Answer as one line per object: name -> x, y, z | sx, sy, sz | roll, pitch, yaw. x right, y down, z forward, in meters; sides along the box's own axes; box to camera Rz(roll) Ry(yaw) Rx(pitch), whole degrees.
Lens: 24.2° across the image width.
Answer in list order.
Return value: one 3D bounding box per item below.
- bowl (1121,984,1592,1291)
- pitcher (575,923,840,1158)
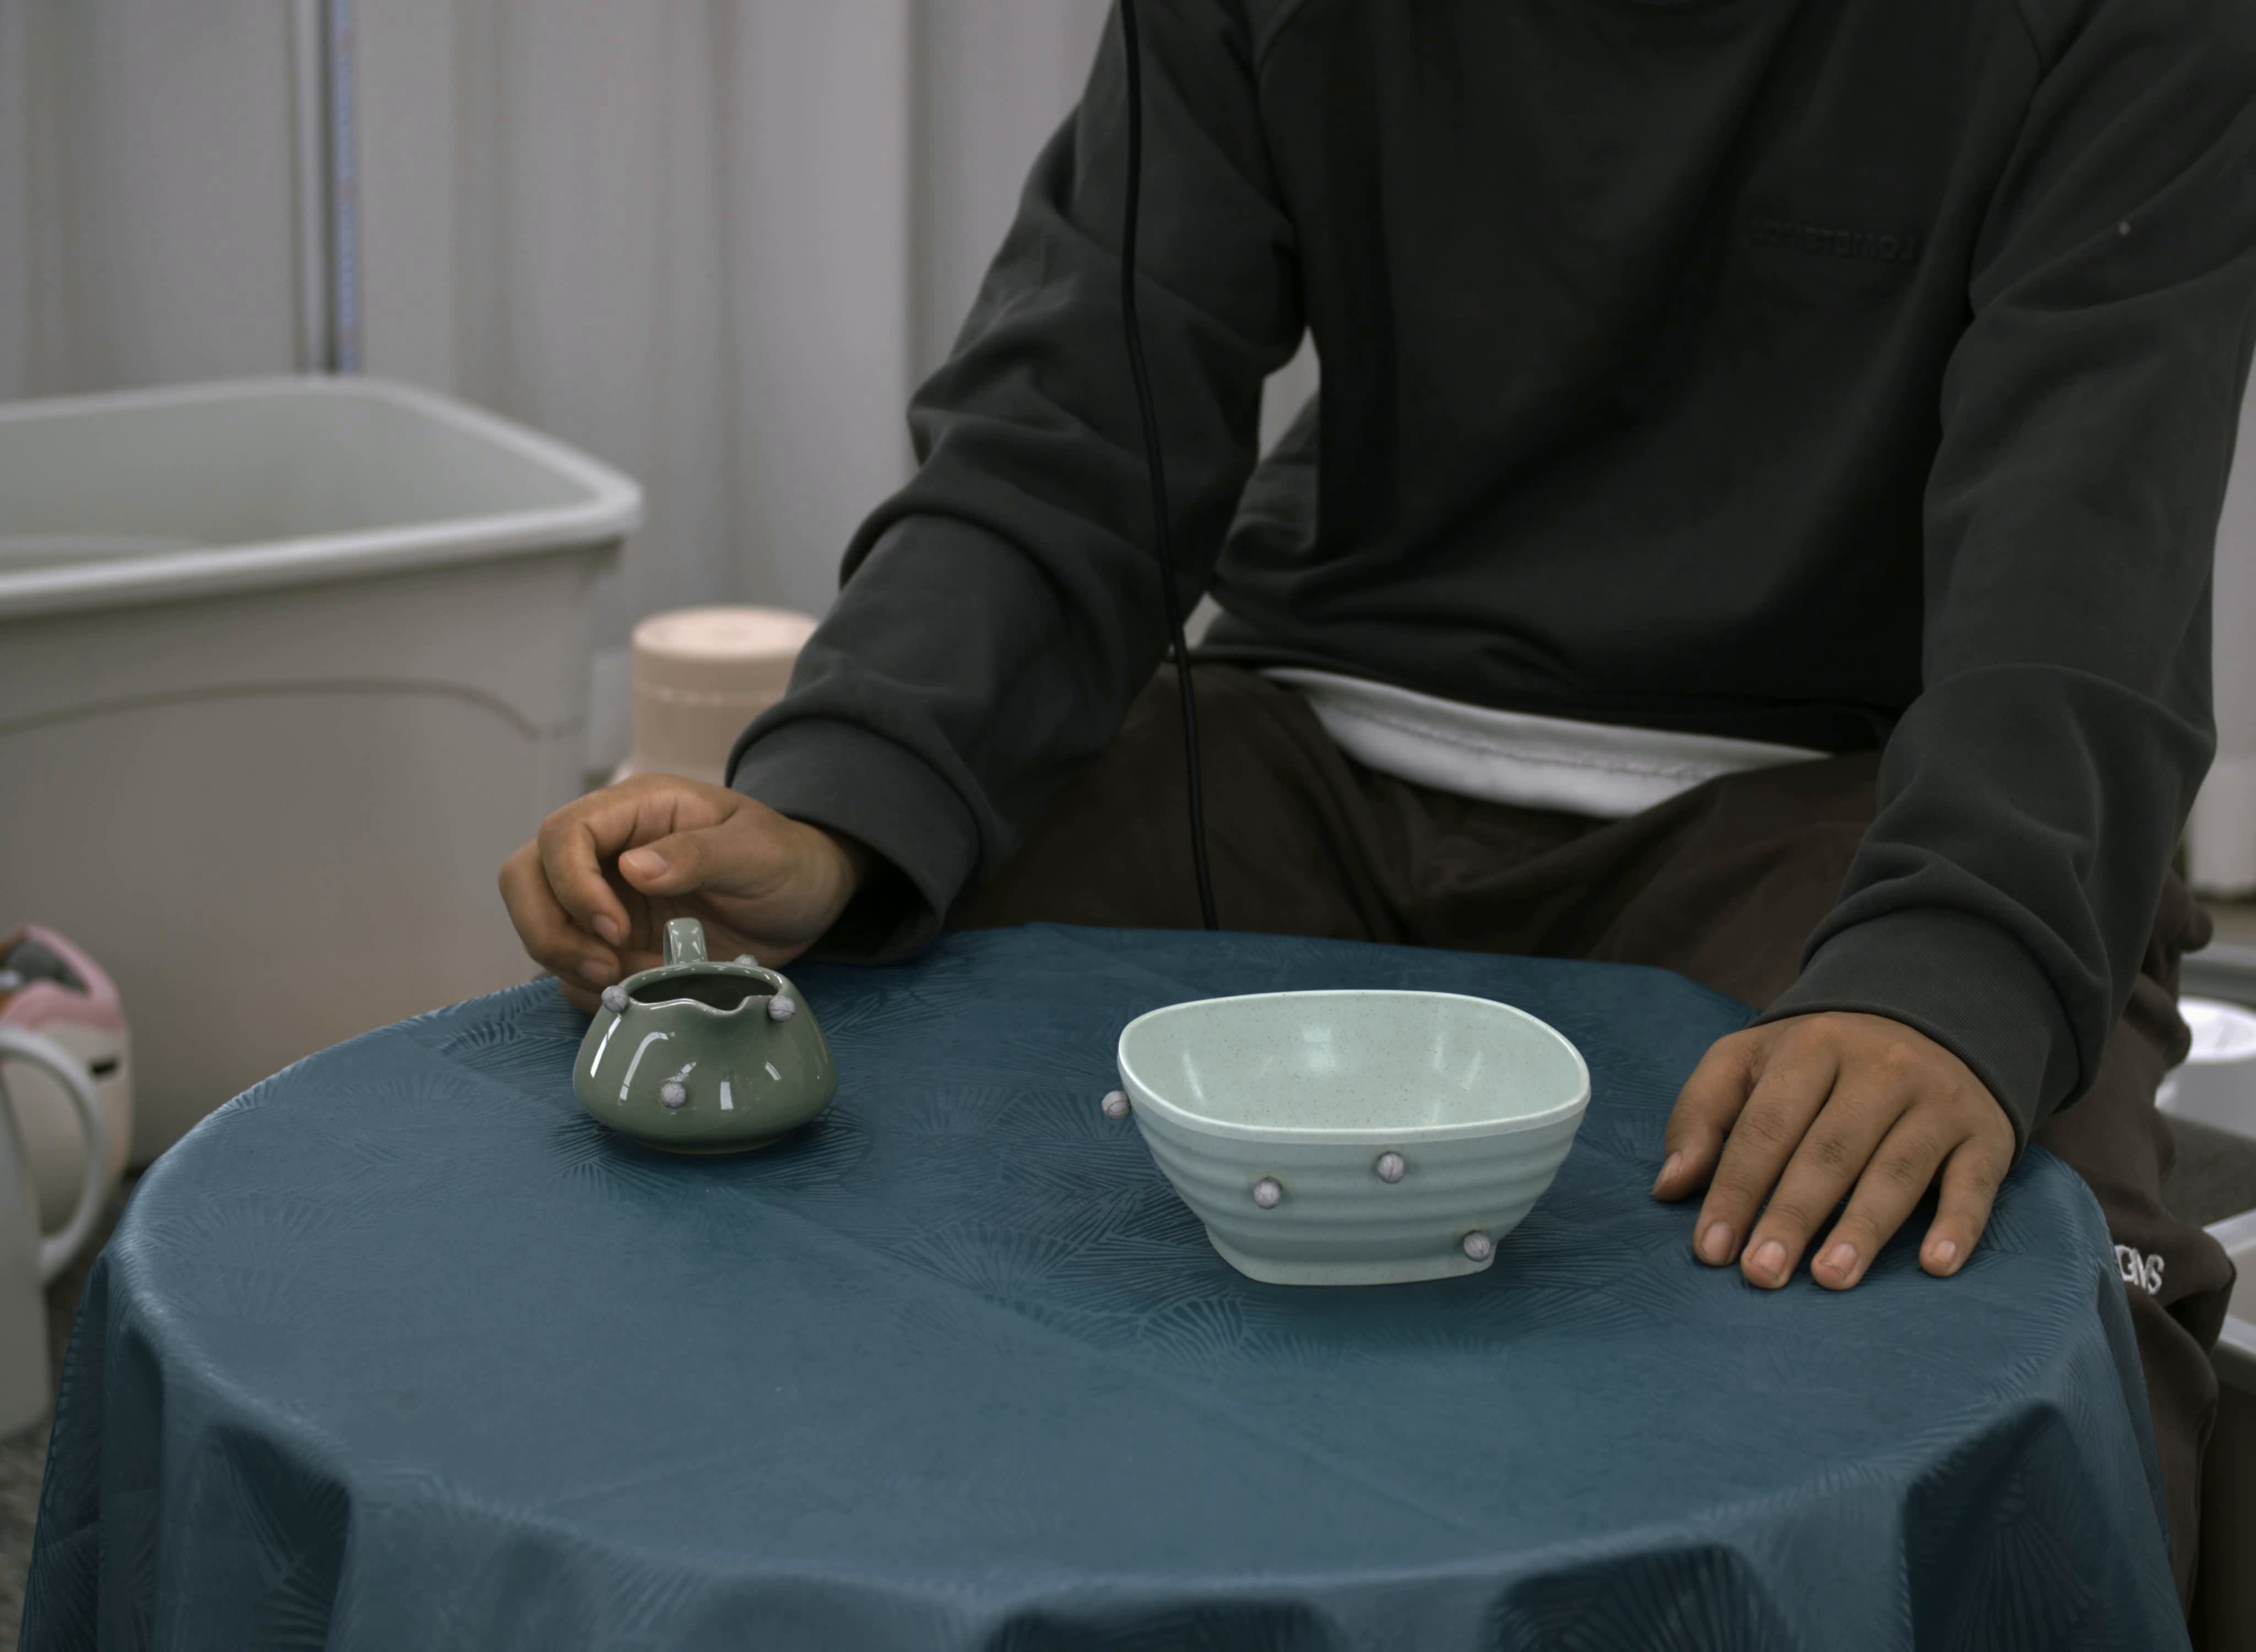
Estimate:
bowl -> 0.068, 0.097, 1.582 | 0.151, 0.059, 0.150 | 1, 17, 0
pitcher -> -0.135, 0.069, 1.676 | 0.084, 0.056, 0.111 | -3, 15, -14
